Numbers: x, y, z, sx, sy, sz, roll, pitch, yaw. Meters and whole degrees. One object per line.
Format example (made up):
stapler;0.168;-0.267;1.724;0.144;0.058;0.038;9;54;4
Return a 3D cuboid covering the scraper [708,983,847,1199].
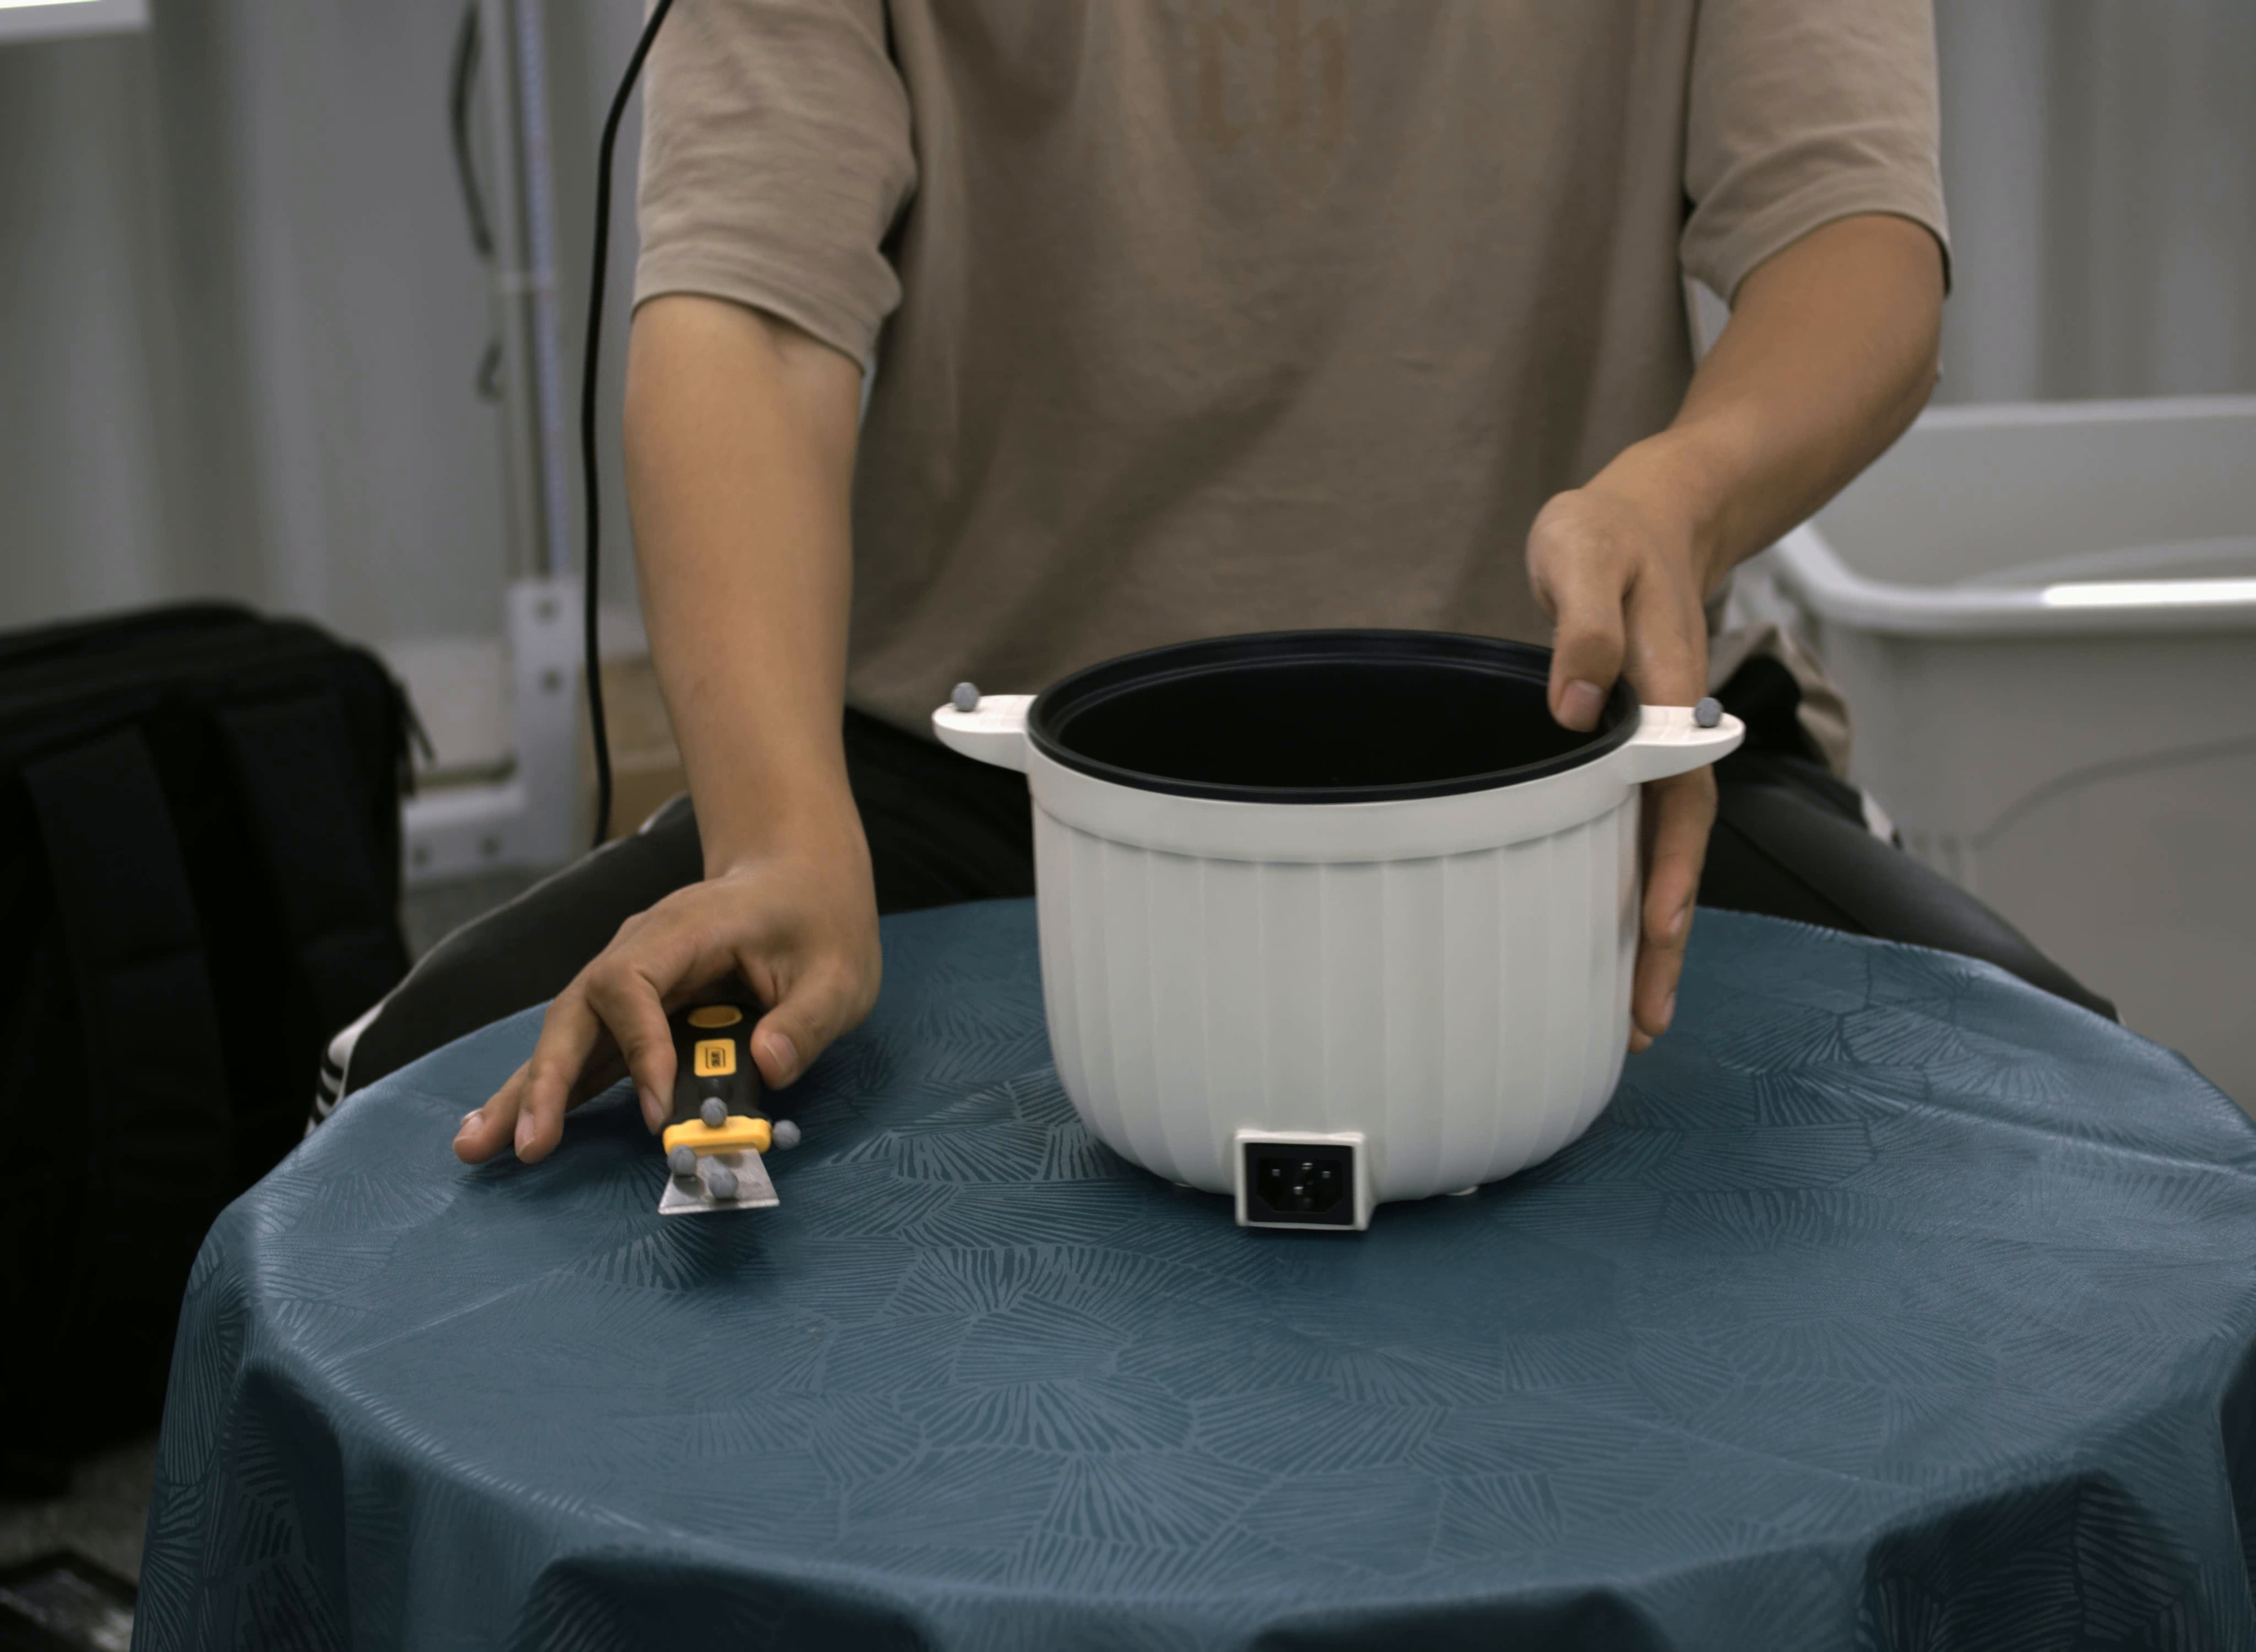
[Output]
scraper;-0.106;0.078;1.574;0.038;0.015;0.172;-10;17;-4

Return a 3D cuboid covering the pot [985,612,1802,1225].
pot;0.078;0.024;1.576;0.241;0.142;0.190;2;20;11
